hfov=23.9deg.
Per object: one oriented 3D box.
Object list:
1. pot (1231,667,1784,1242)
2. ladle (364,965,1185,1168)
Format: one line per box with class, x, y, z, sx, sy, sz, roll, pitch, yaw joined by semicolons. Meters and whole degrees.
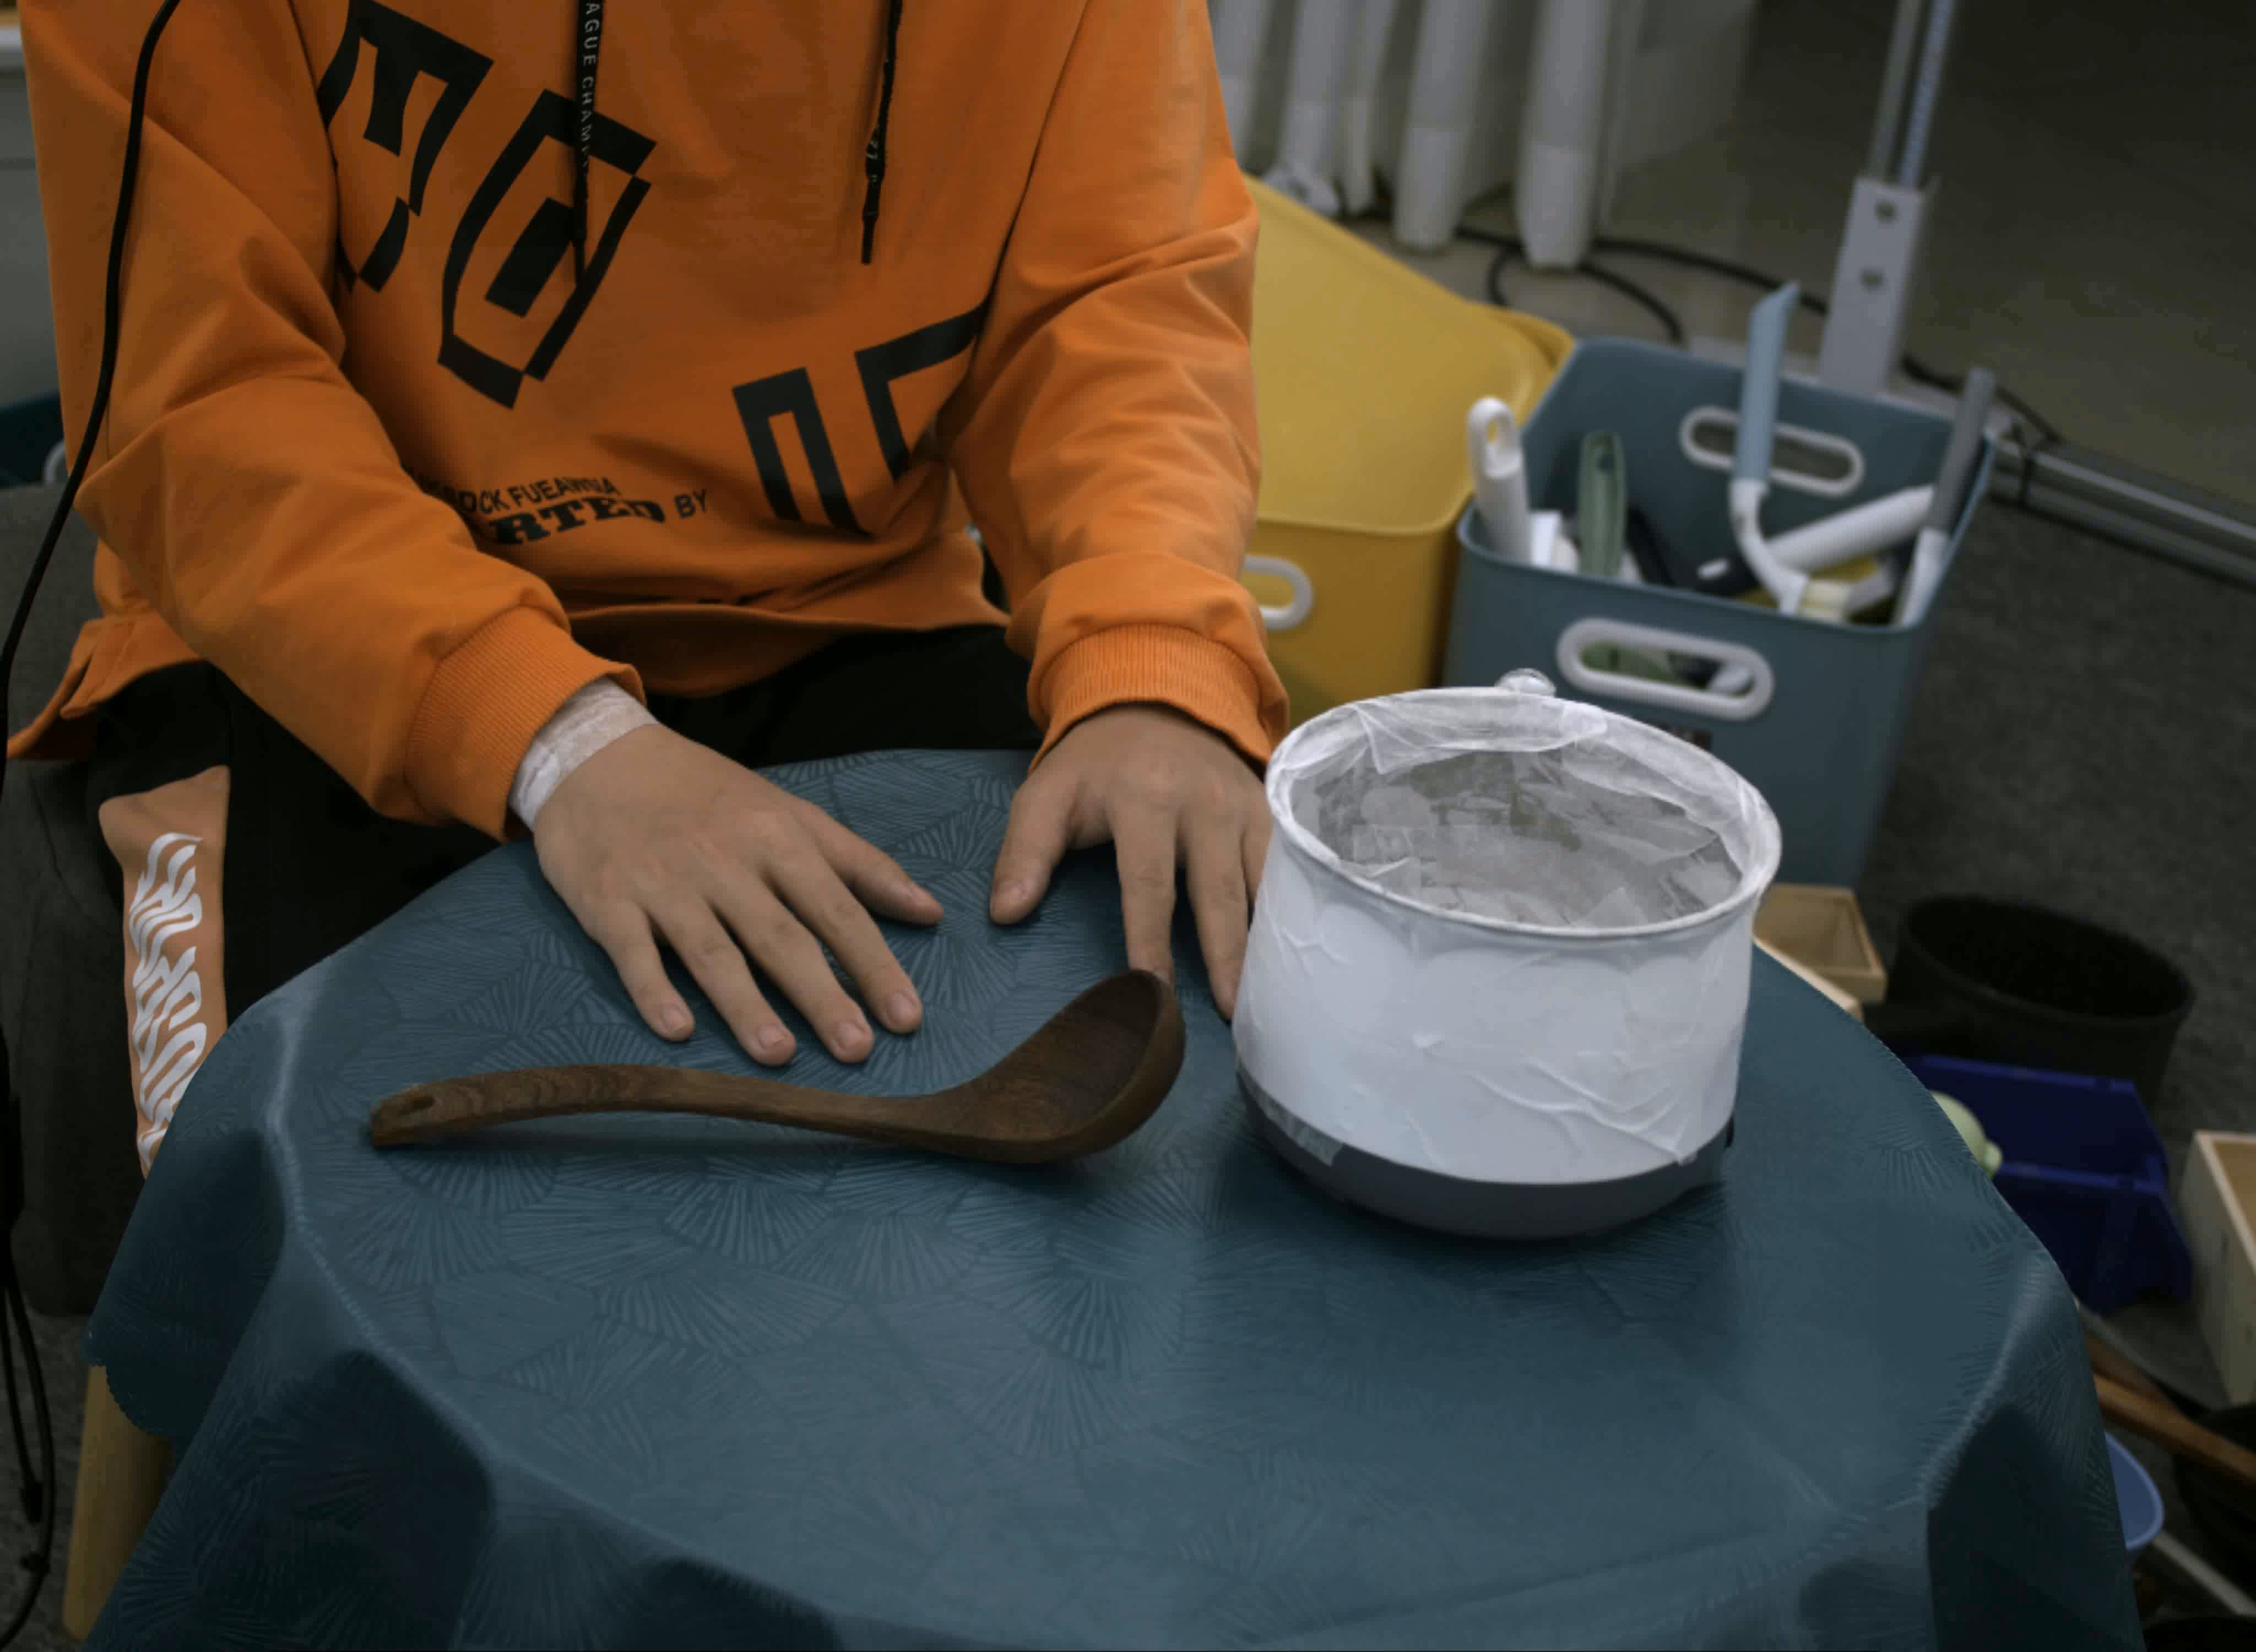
pot;0.128;0.037;1.851;0.178;0.136;0.235;7;27;0
ladle;-0.118;0.078;1.790;0.273;0.071;0.076;3;24;-9
